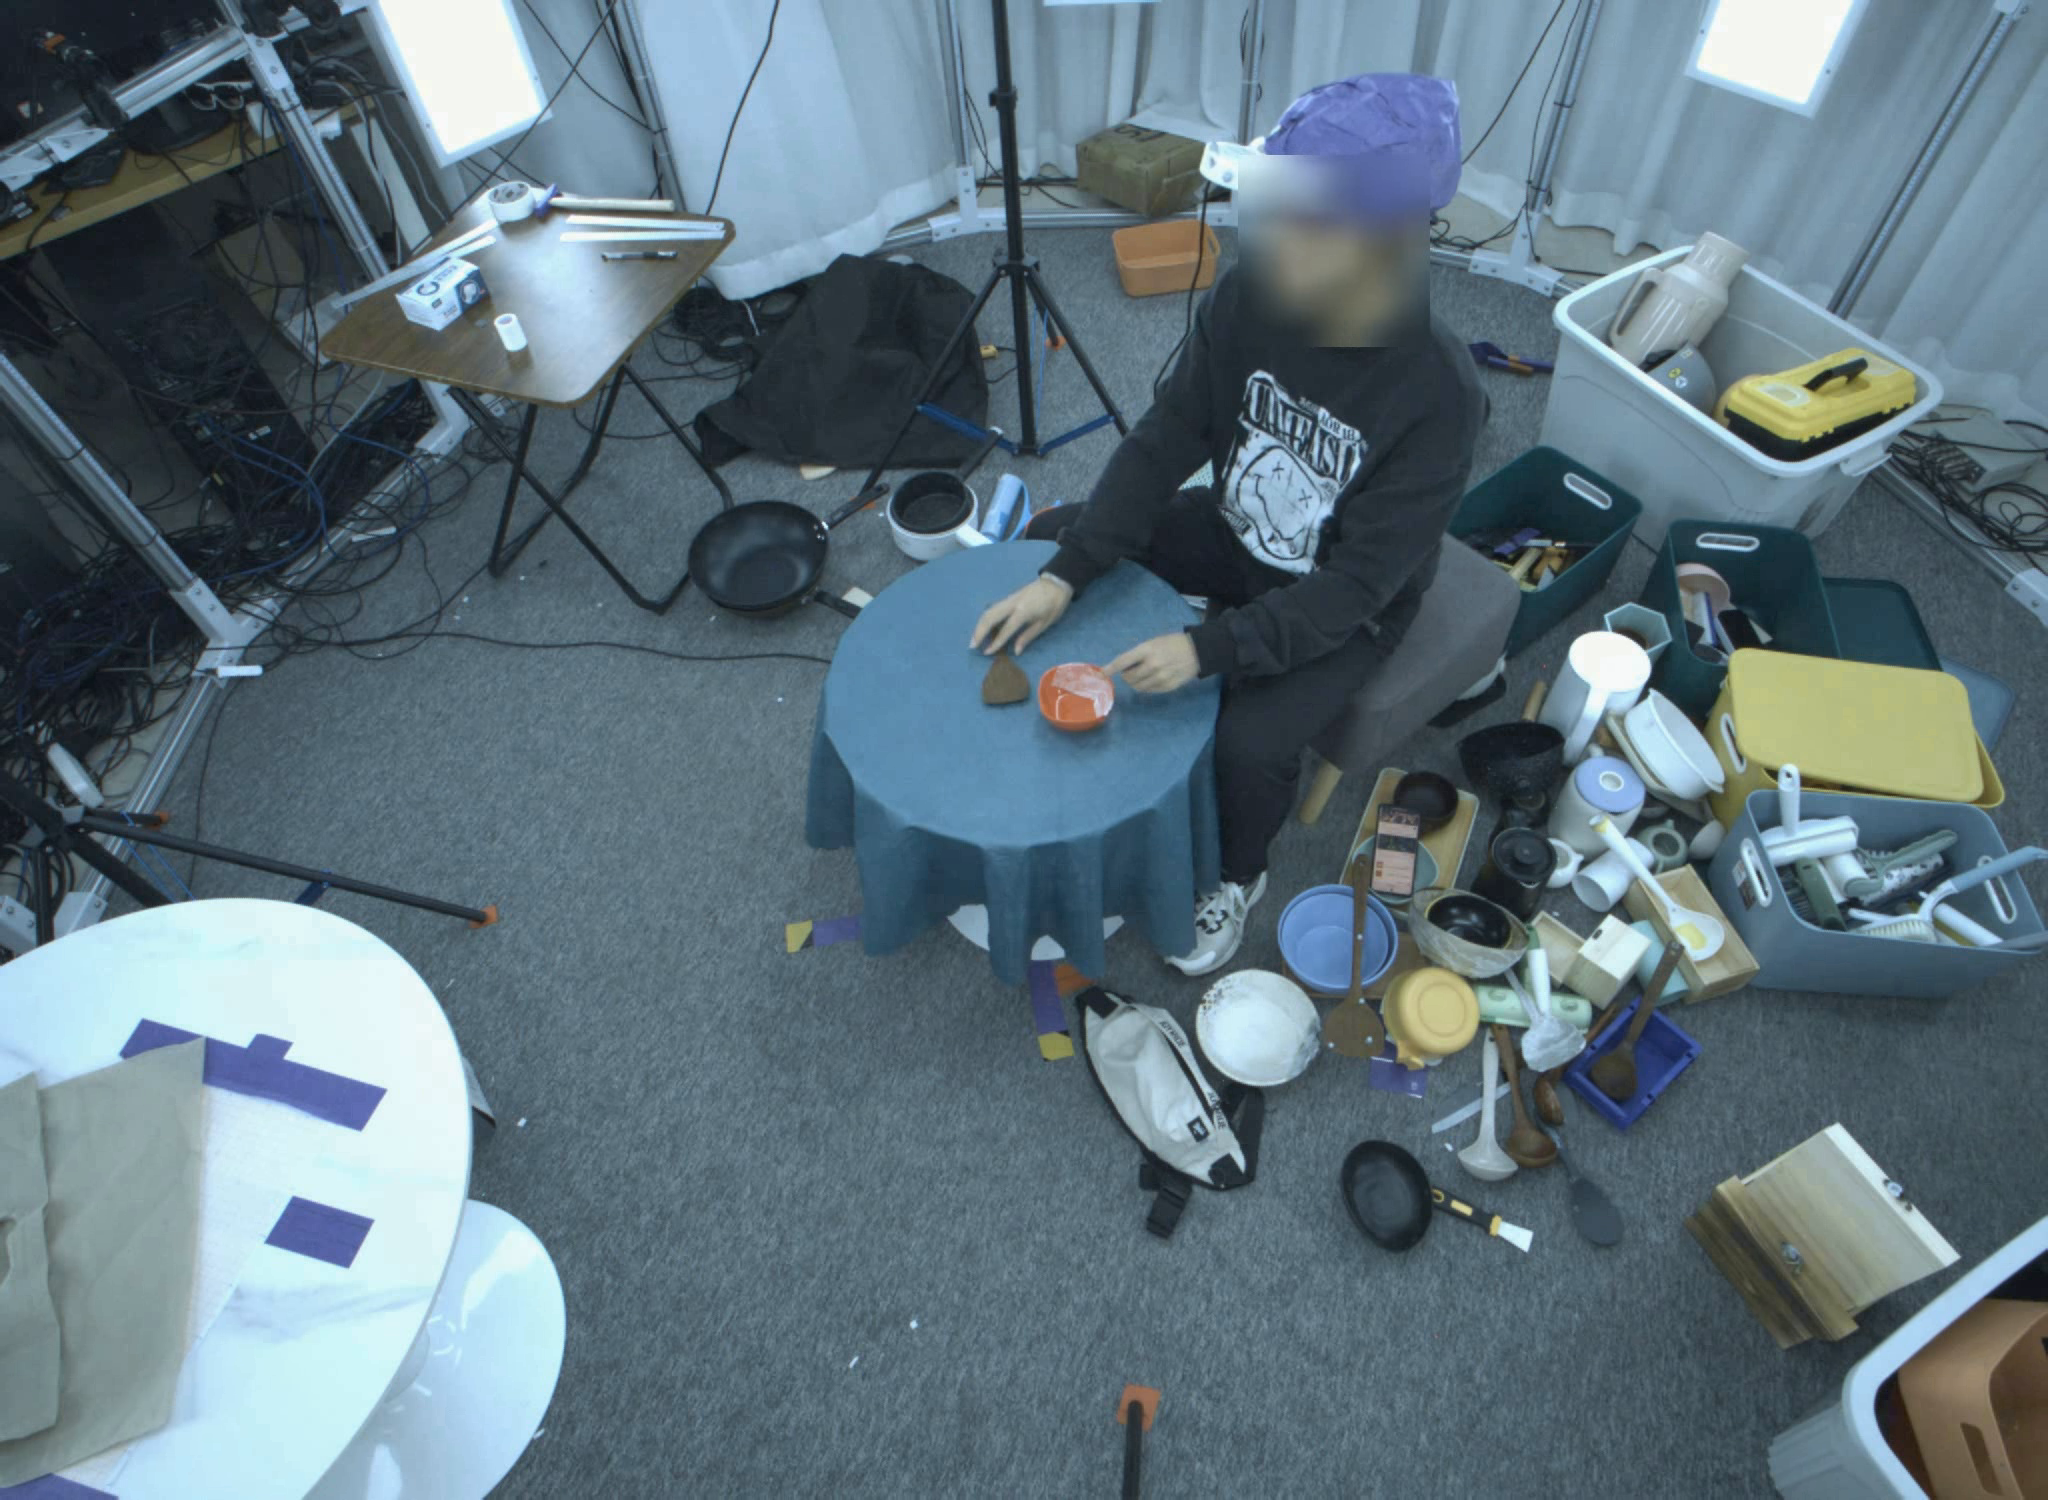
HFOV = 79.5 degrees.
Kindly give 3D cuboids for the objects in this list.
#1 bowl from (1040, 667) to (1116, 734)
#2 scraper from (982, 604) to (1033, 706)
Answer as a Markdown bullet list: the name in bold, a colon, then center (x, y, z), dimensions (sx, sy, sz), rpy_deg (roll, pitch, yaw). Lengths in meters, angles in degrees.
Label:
- **bowl**: center (0.080, -0.065, 1.812), dimensions (0.119, 0.052, 0.117), rpy_deg (-1, 55, 3)
- **scraper**: center (-0.034, -0.148, 1.898), dimensions (0.076, 0.011, 0.208), rpy_deg (-6, 54, -4)
